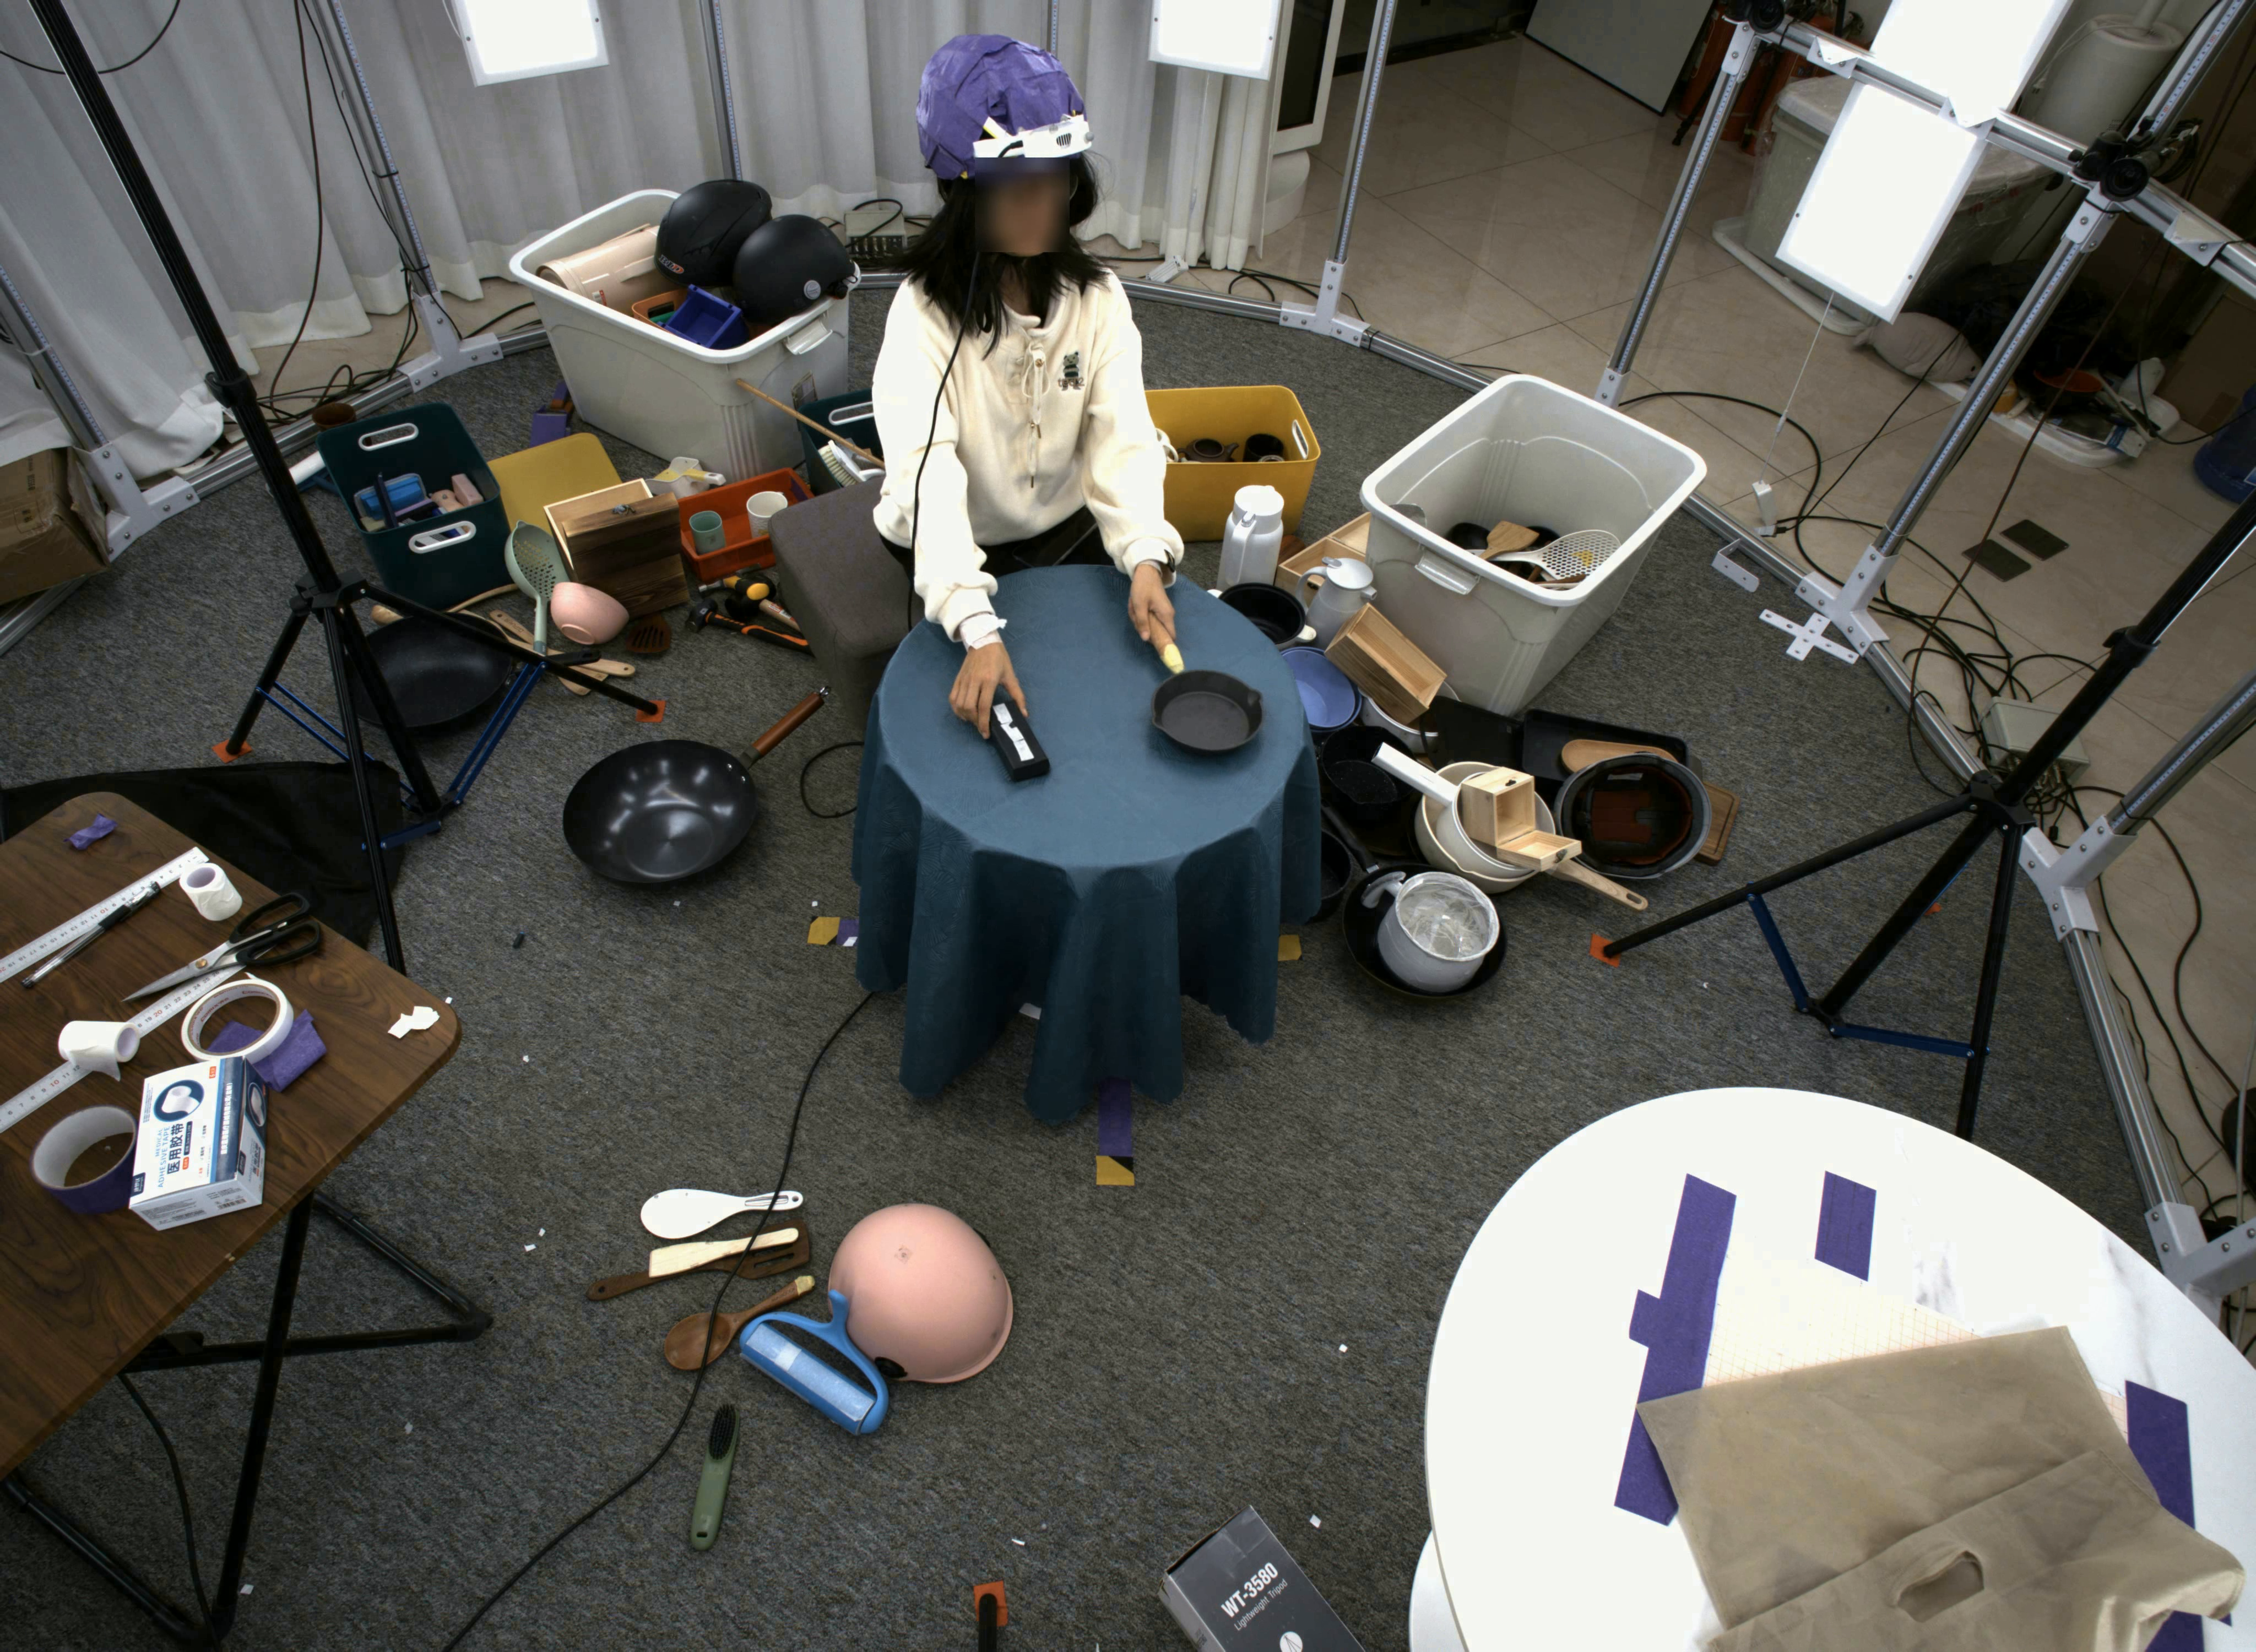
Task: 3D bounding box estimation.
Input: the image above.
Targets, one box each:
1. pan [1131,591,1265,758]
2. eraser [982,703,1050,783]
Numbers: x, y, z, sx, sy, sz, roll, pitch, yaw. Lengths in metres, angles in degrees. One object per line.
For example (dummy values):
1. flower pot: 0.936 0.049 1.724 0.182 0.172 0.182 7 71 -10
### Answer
1. pan: 0.078 -0.218 1.830 0.169 0.048 0.332 -16 53 -17
2. eraser: -0.153 -0.113 1.741 0.053 0.030 0.128 -16 51 -17
